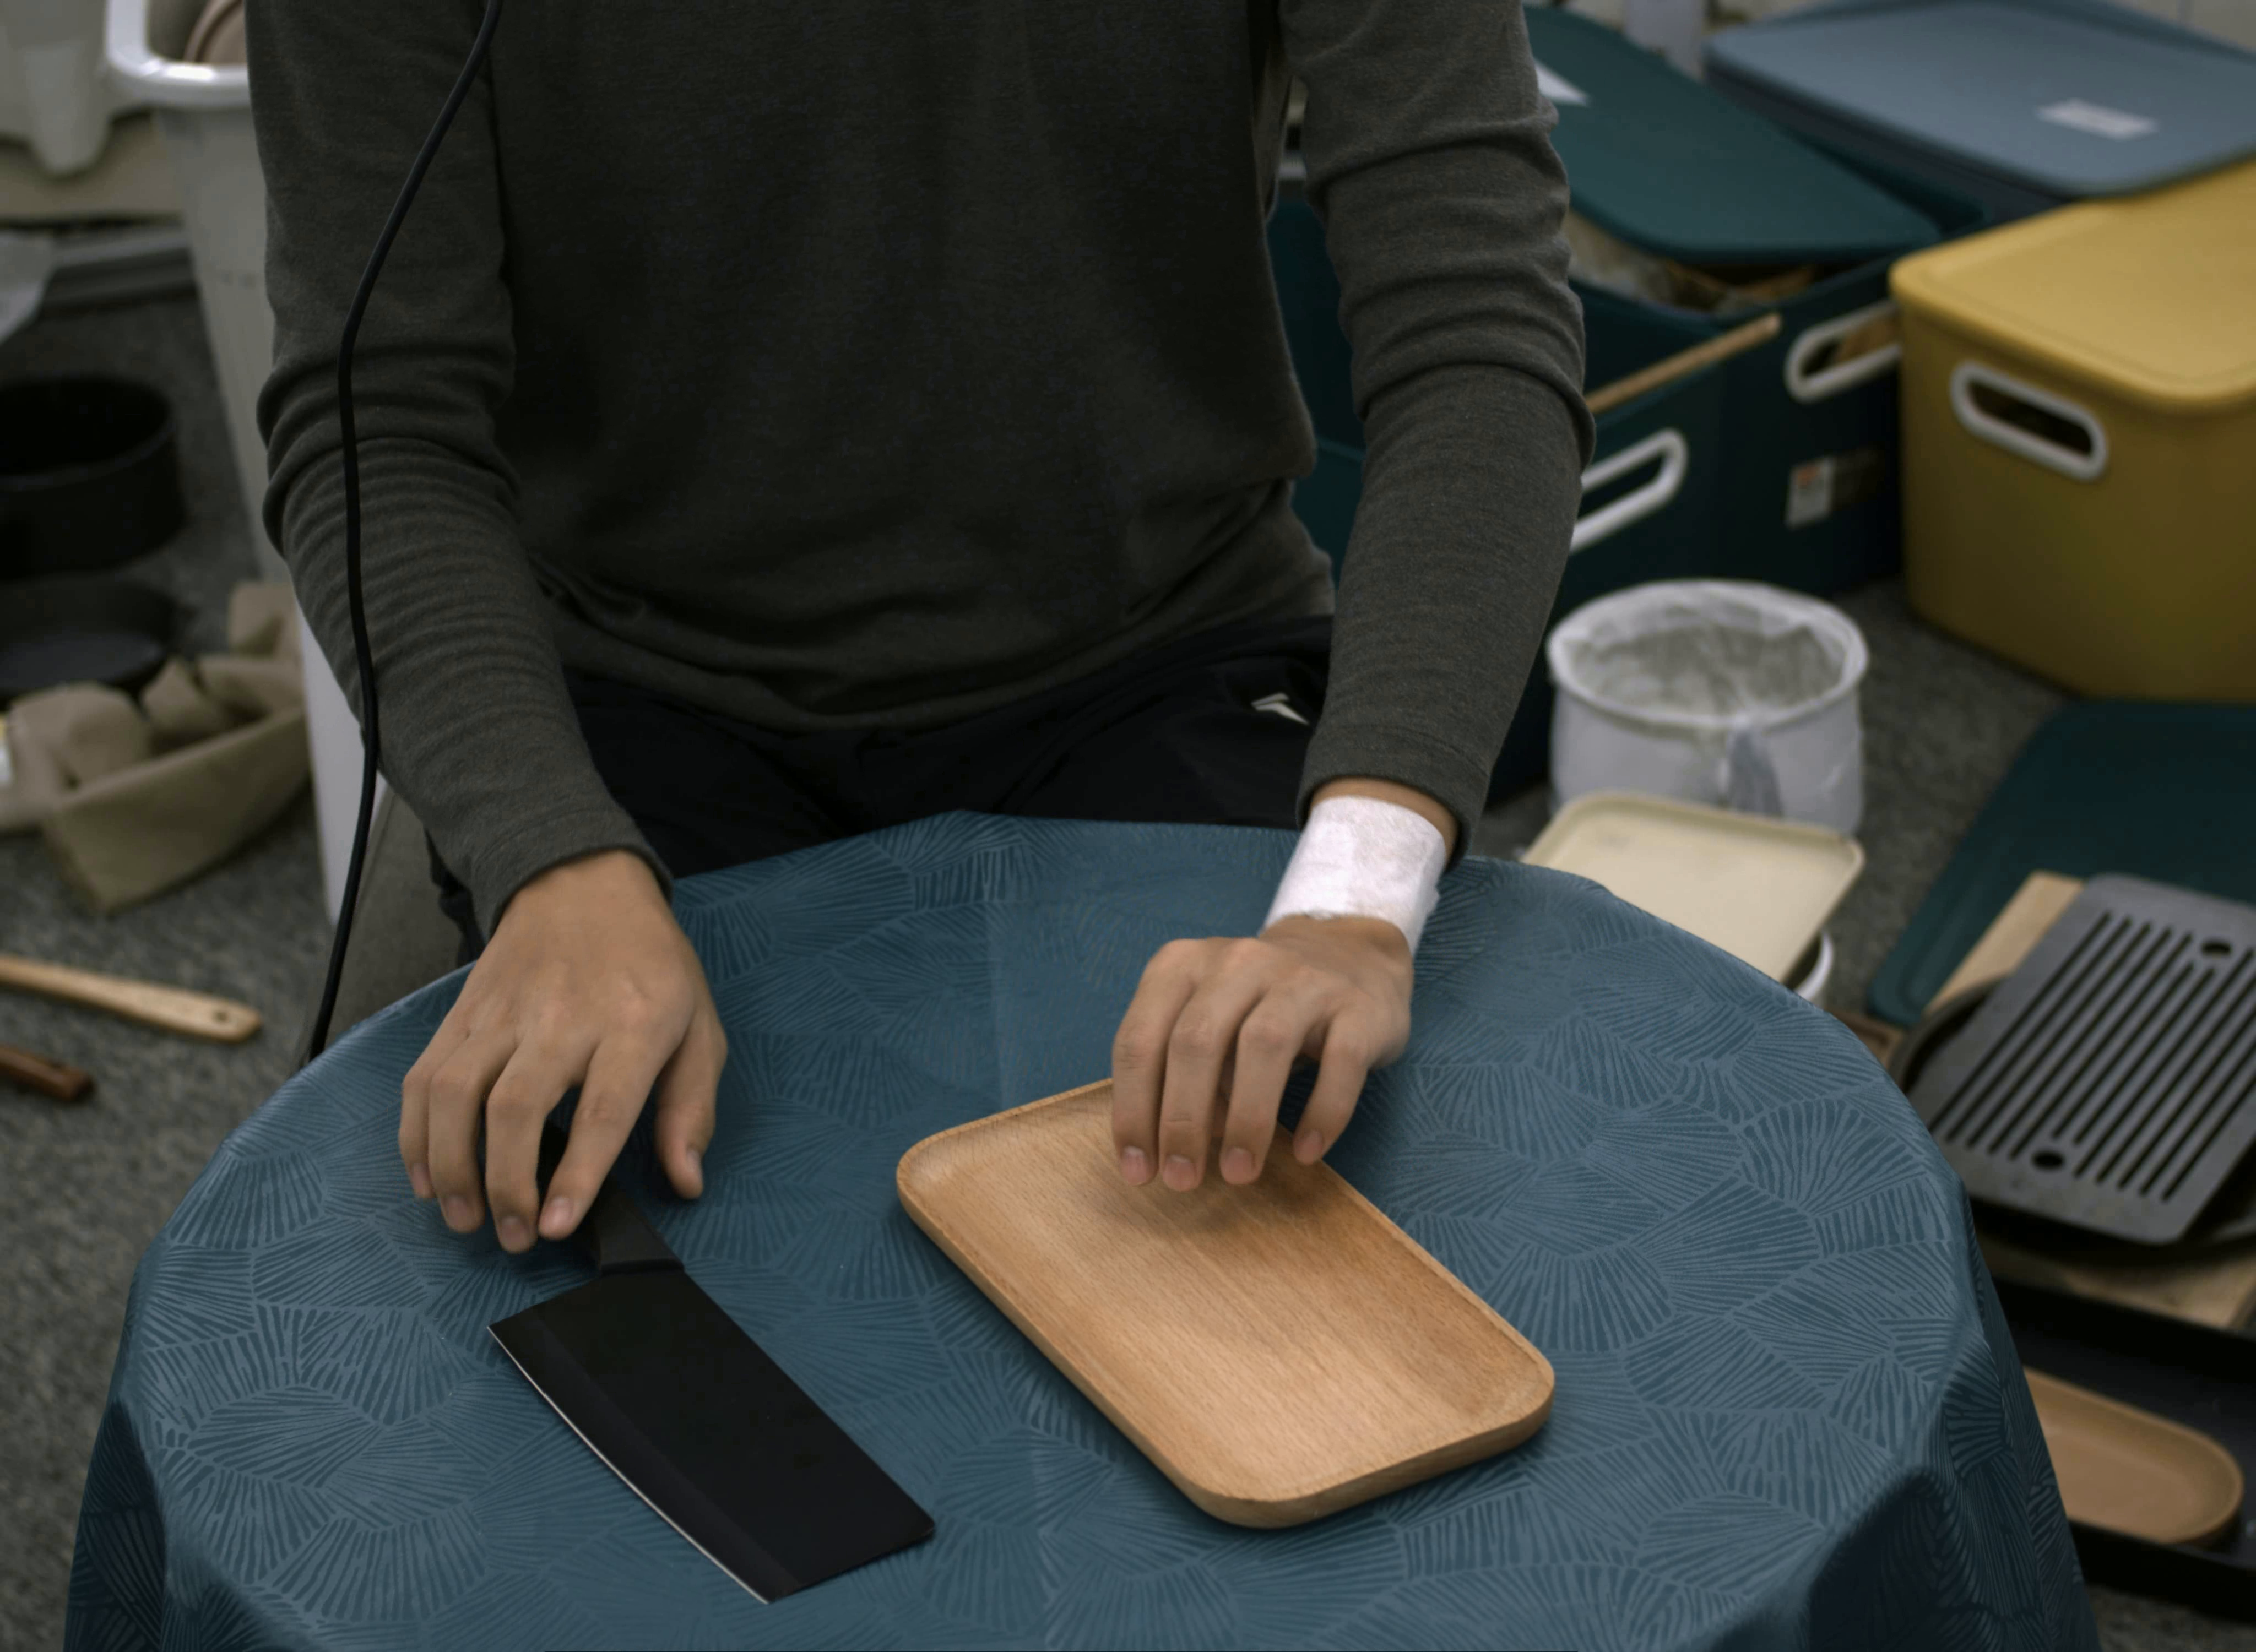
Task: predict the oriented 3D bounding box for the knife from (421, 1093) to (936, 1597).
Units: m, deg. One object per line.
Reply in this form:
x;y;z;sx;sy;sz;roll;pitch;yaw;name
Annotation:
-0.158;0.161;1.786;0.081;0.020;0.304;-18;32;-22;knife

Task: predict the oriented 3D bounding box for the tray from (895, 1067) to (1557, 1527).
0.027;0.147;1.792;0.131;0.022;0.252;-13;28;-24;tray
